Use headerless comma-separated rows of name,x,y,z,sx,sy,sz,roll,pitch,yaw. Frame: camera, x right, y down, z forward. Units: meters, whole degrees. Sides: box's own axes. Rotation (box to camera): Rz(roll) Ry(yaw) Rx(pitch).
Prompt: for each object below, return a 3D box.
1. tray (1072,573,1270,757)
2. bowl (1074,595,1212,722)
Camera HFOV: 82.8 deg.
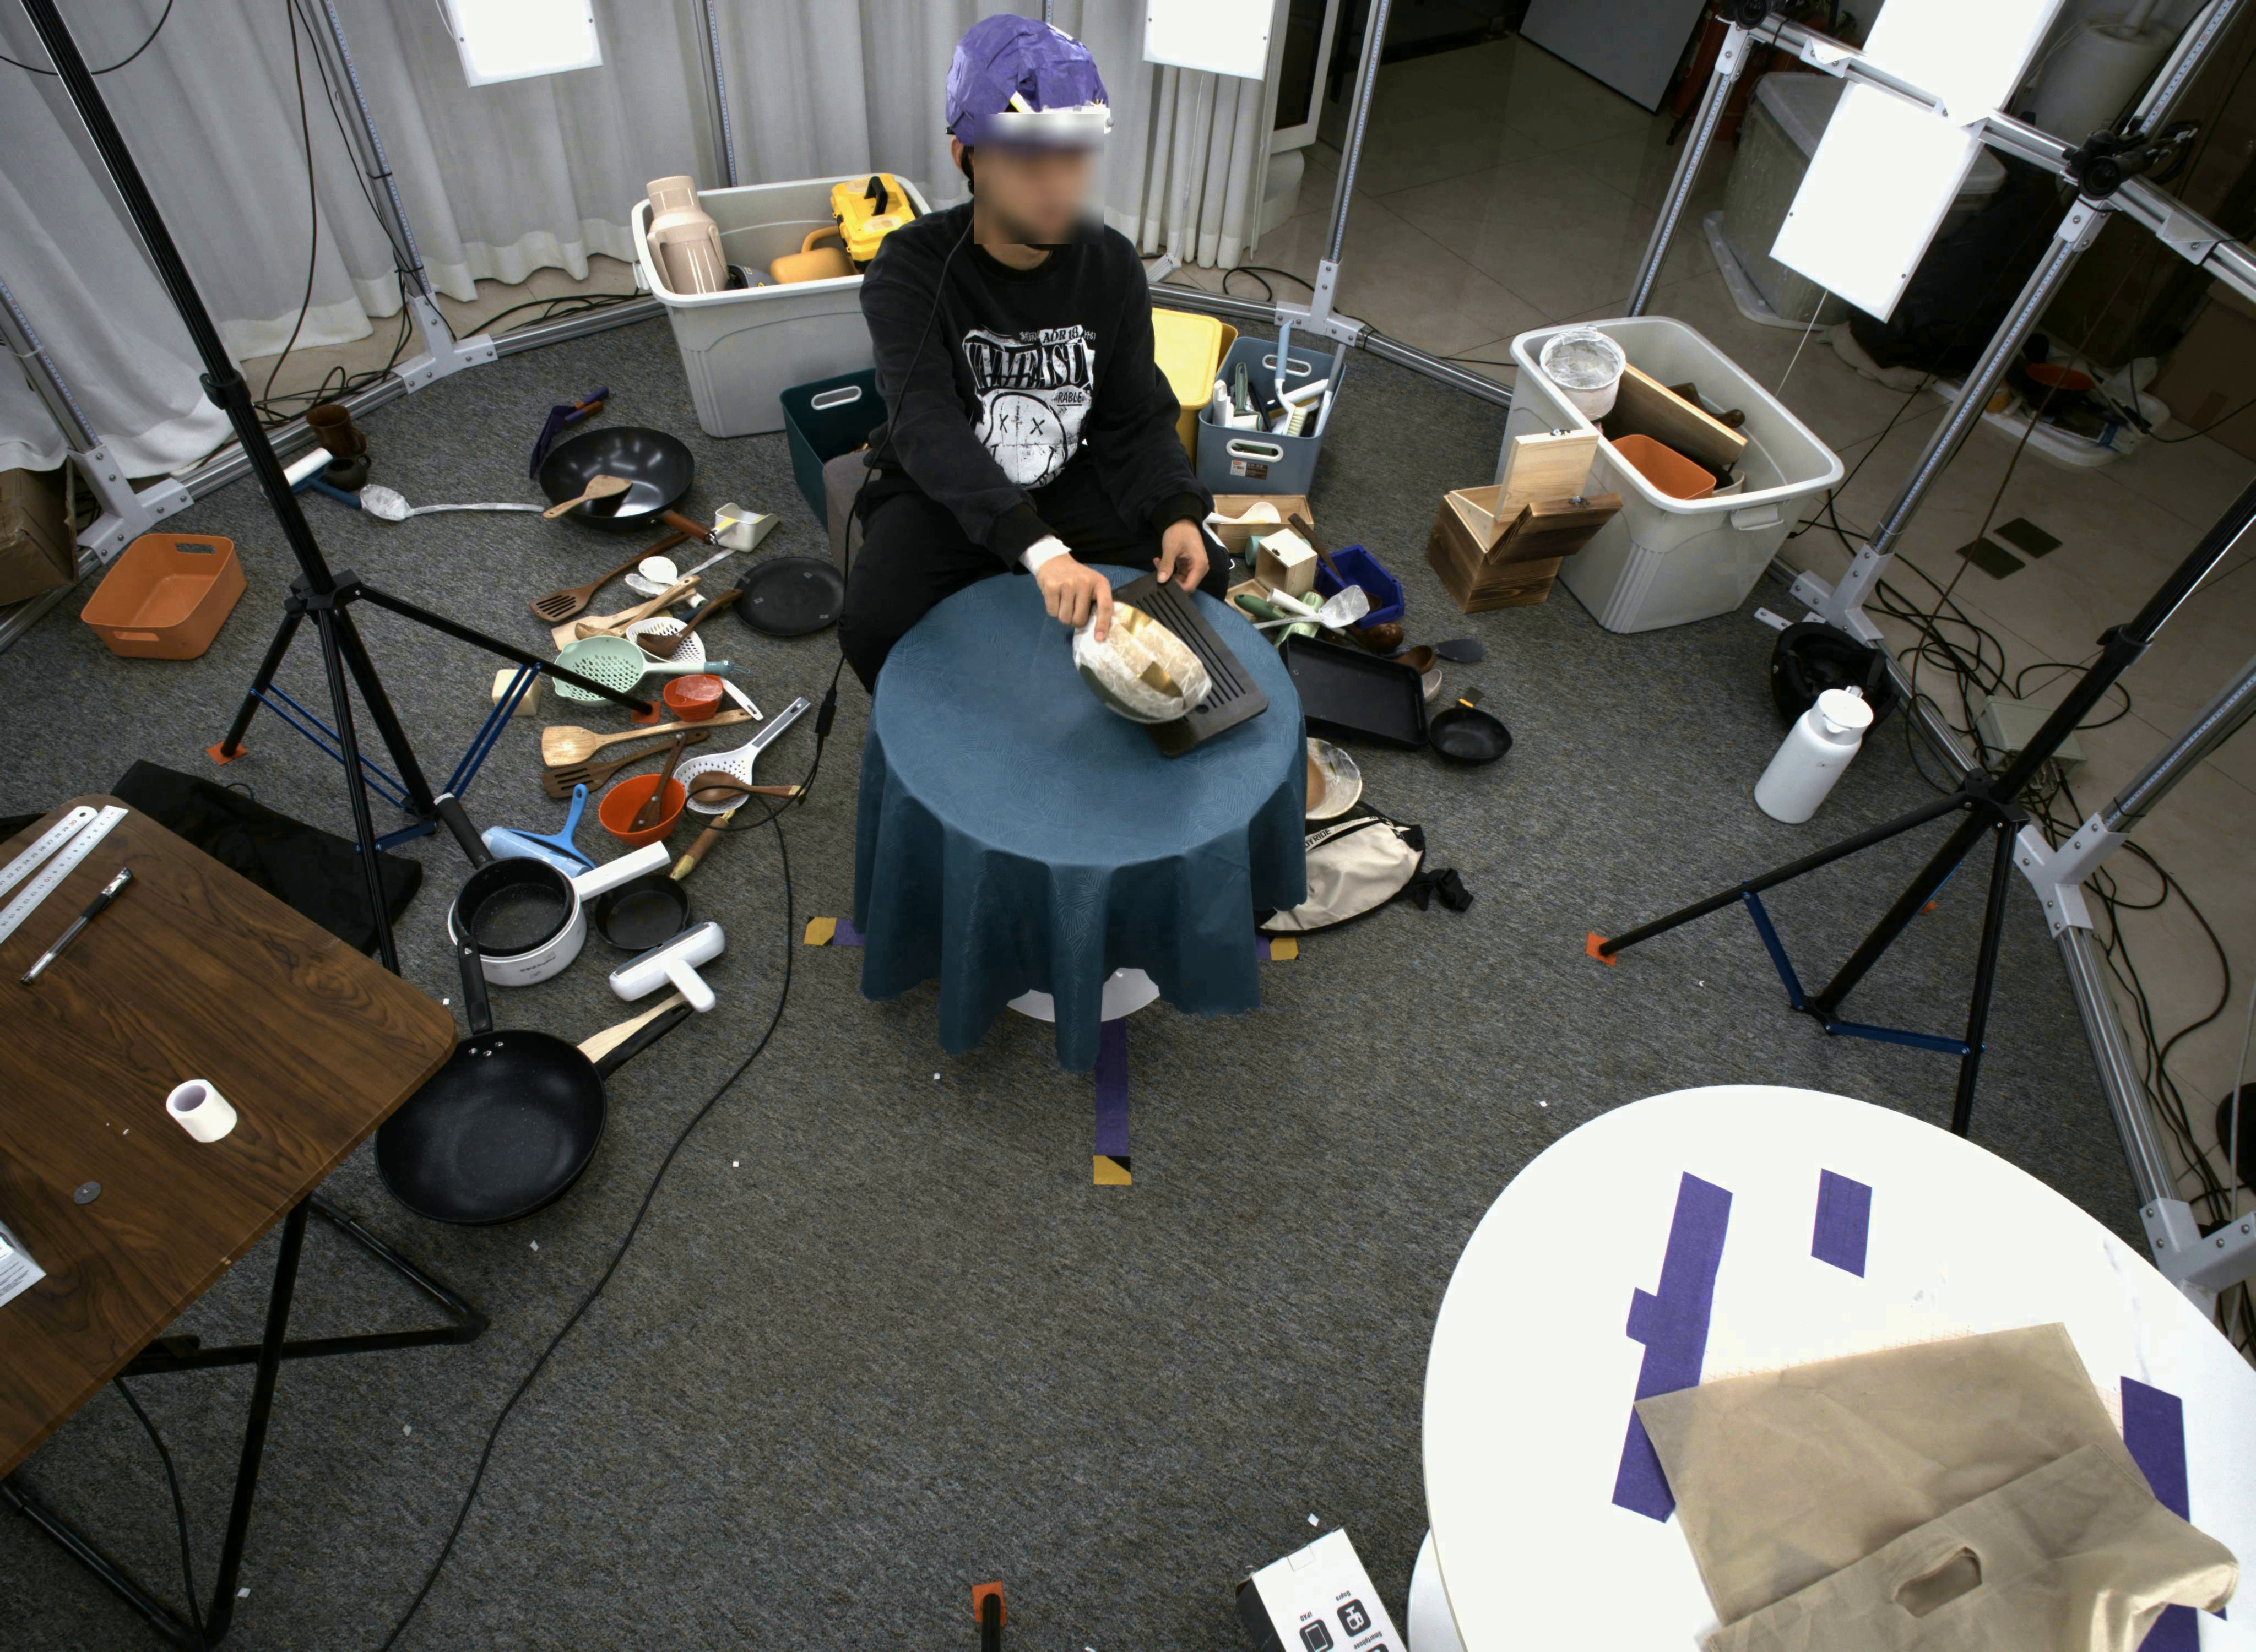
tray,0.058,-0.237,1.856,0.170,0.018,0.312,-26,58,-12
bowl,0.002,-0.204,1.714,0.217,0.211,0.095,31,78,21
